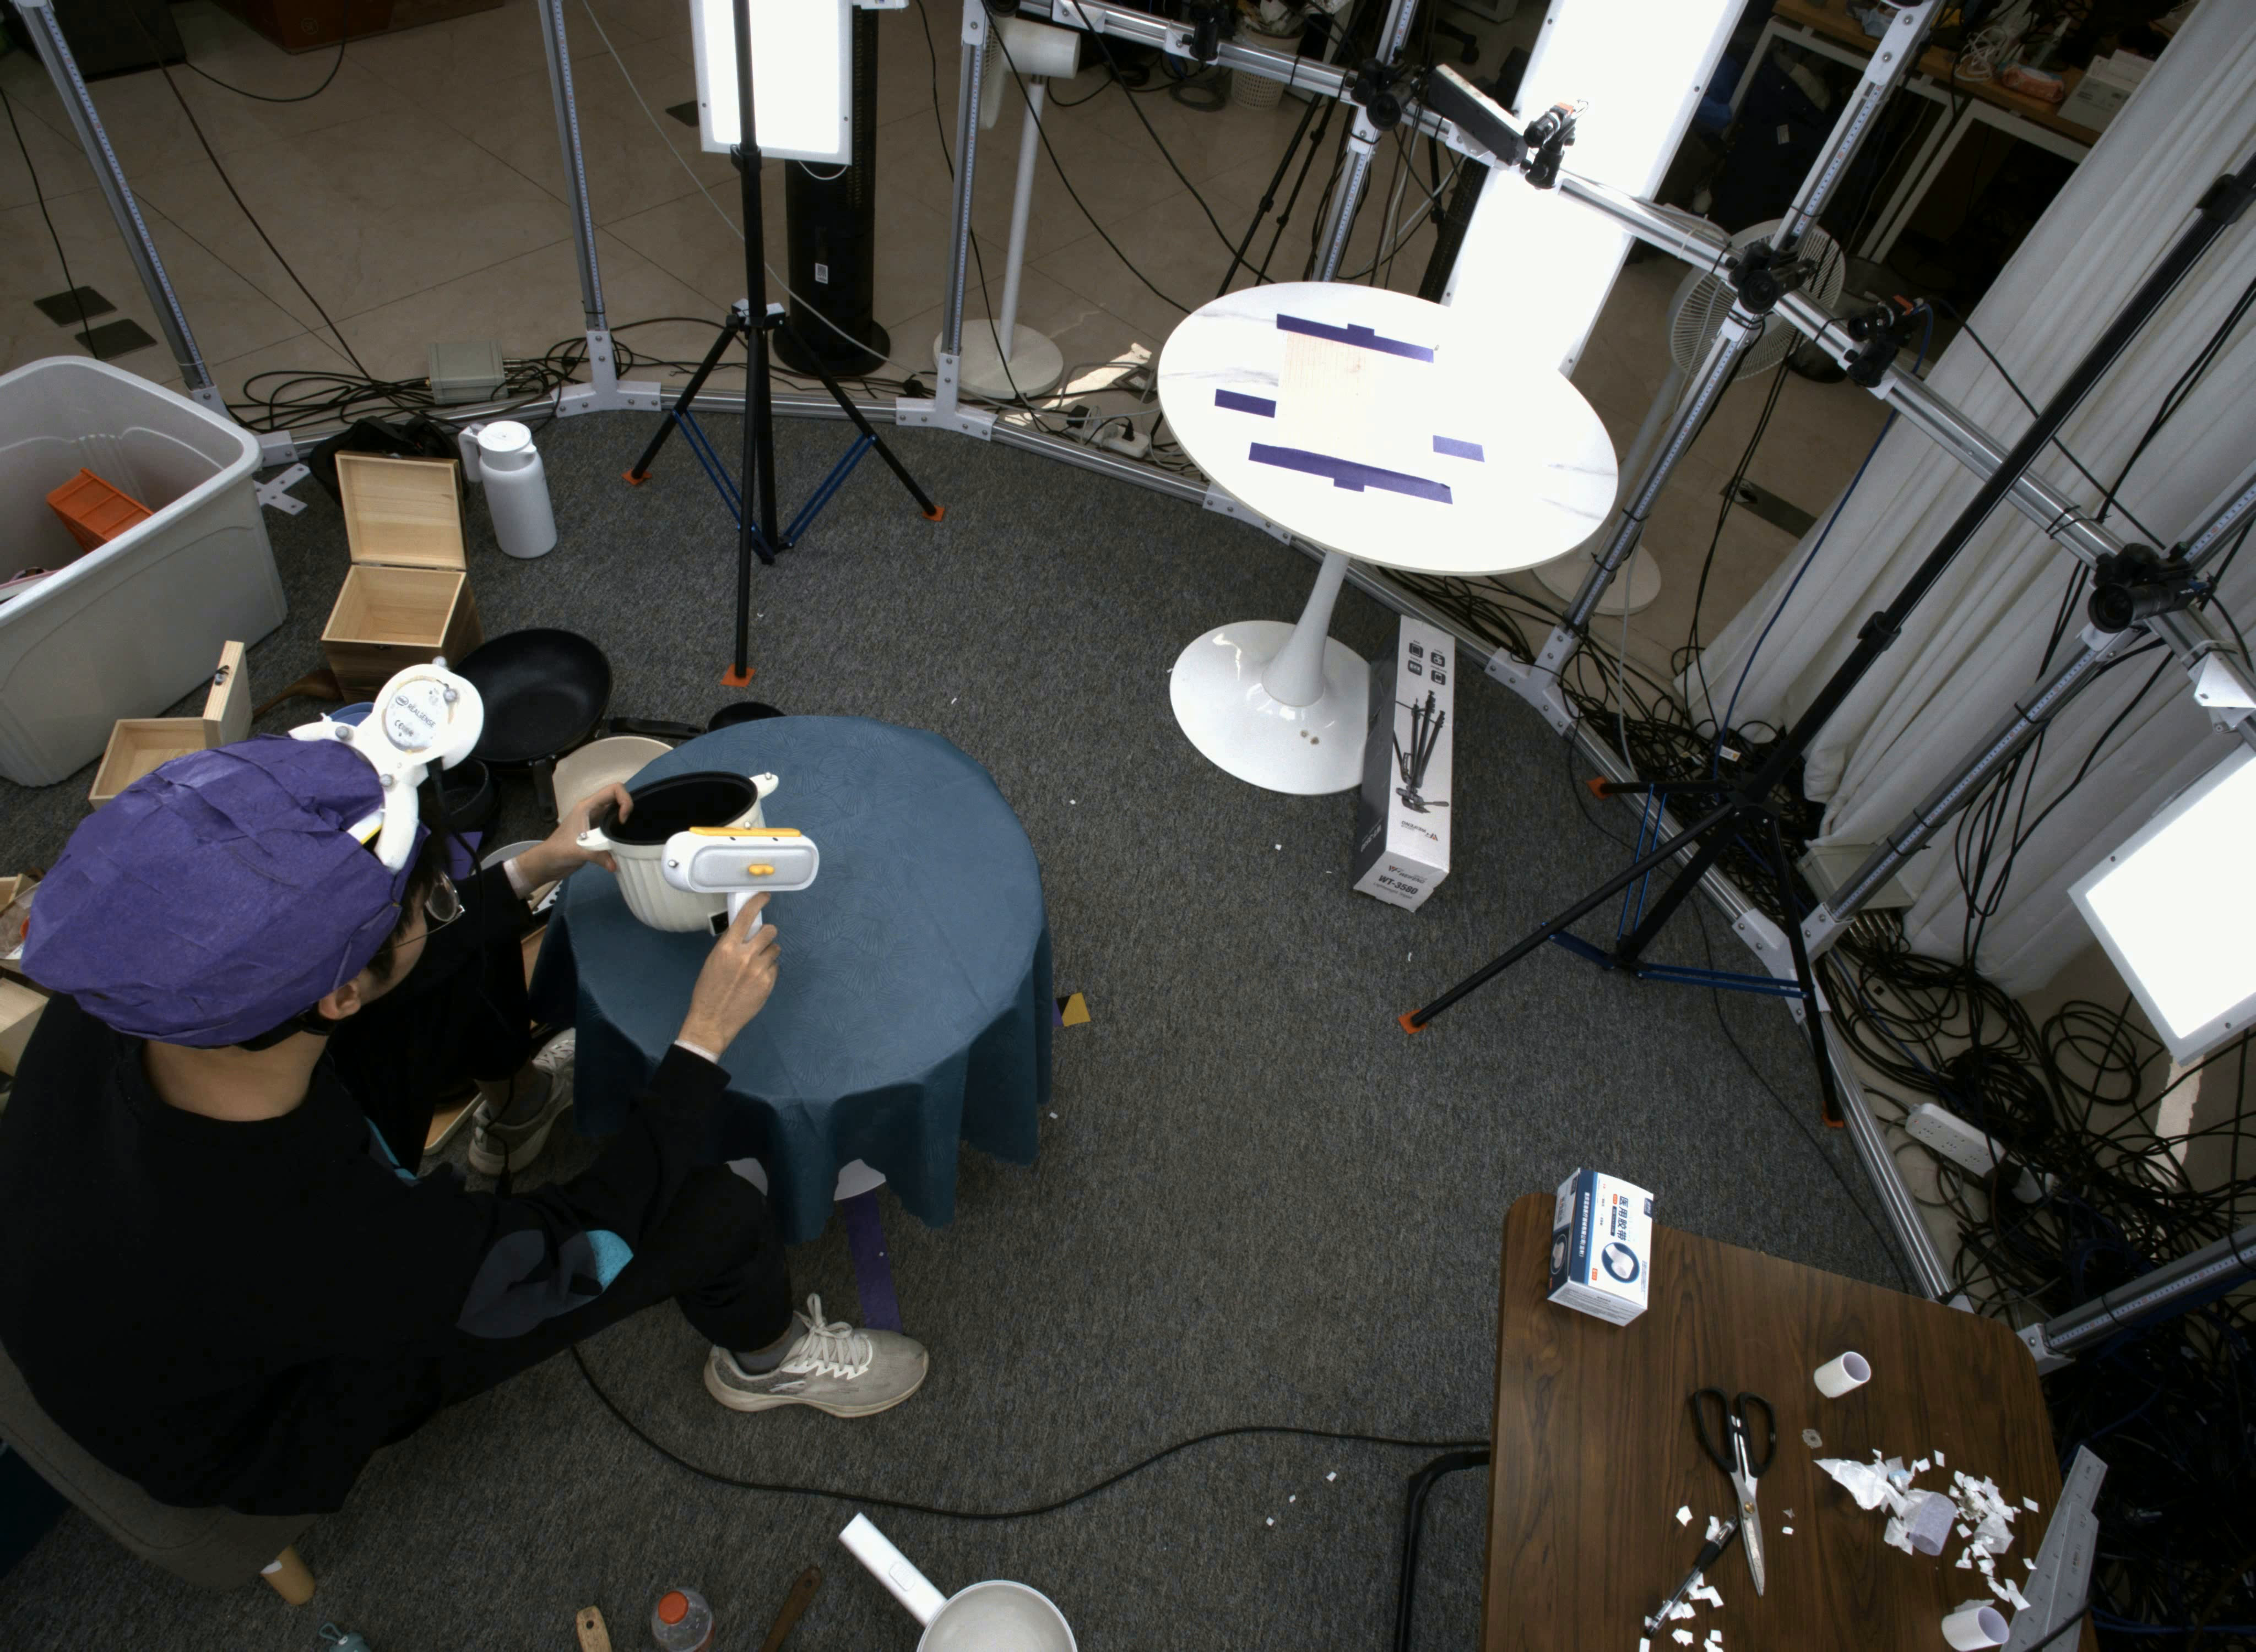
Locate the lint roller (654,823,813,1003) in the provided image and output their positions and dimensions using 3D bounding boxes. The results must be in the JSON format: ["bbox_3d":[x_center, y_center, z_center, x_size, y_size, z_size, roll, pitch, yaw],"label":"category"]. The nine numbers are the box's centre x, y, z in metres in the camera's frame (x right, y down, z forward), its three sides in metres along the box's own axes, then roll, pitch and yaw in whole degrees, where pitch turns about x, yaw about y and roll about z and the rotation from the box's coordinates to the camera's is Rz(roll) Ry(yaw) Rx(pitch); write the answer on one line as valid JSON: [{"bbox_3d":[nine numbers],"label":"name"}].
[{"bbox_3d":[-0.431,0.096,1.439,0.071,0.196,0.196,7,8,32],"label":"lint roller"}]

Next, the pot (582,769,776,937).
[{"bbox_3d":[-0.518,0.031,1.522,0.242,0.147,0.183,-21,36,-29],"label":"pot"}]
